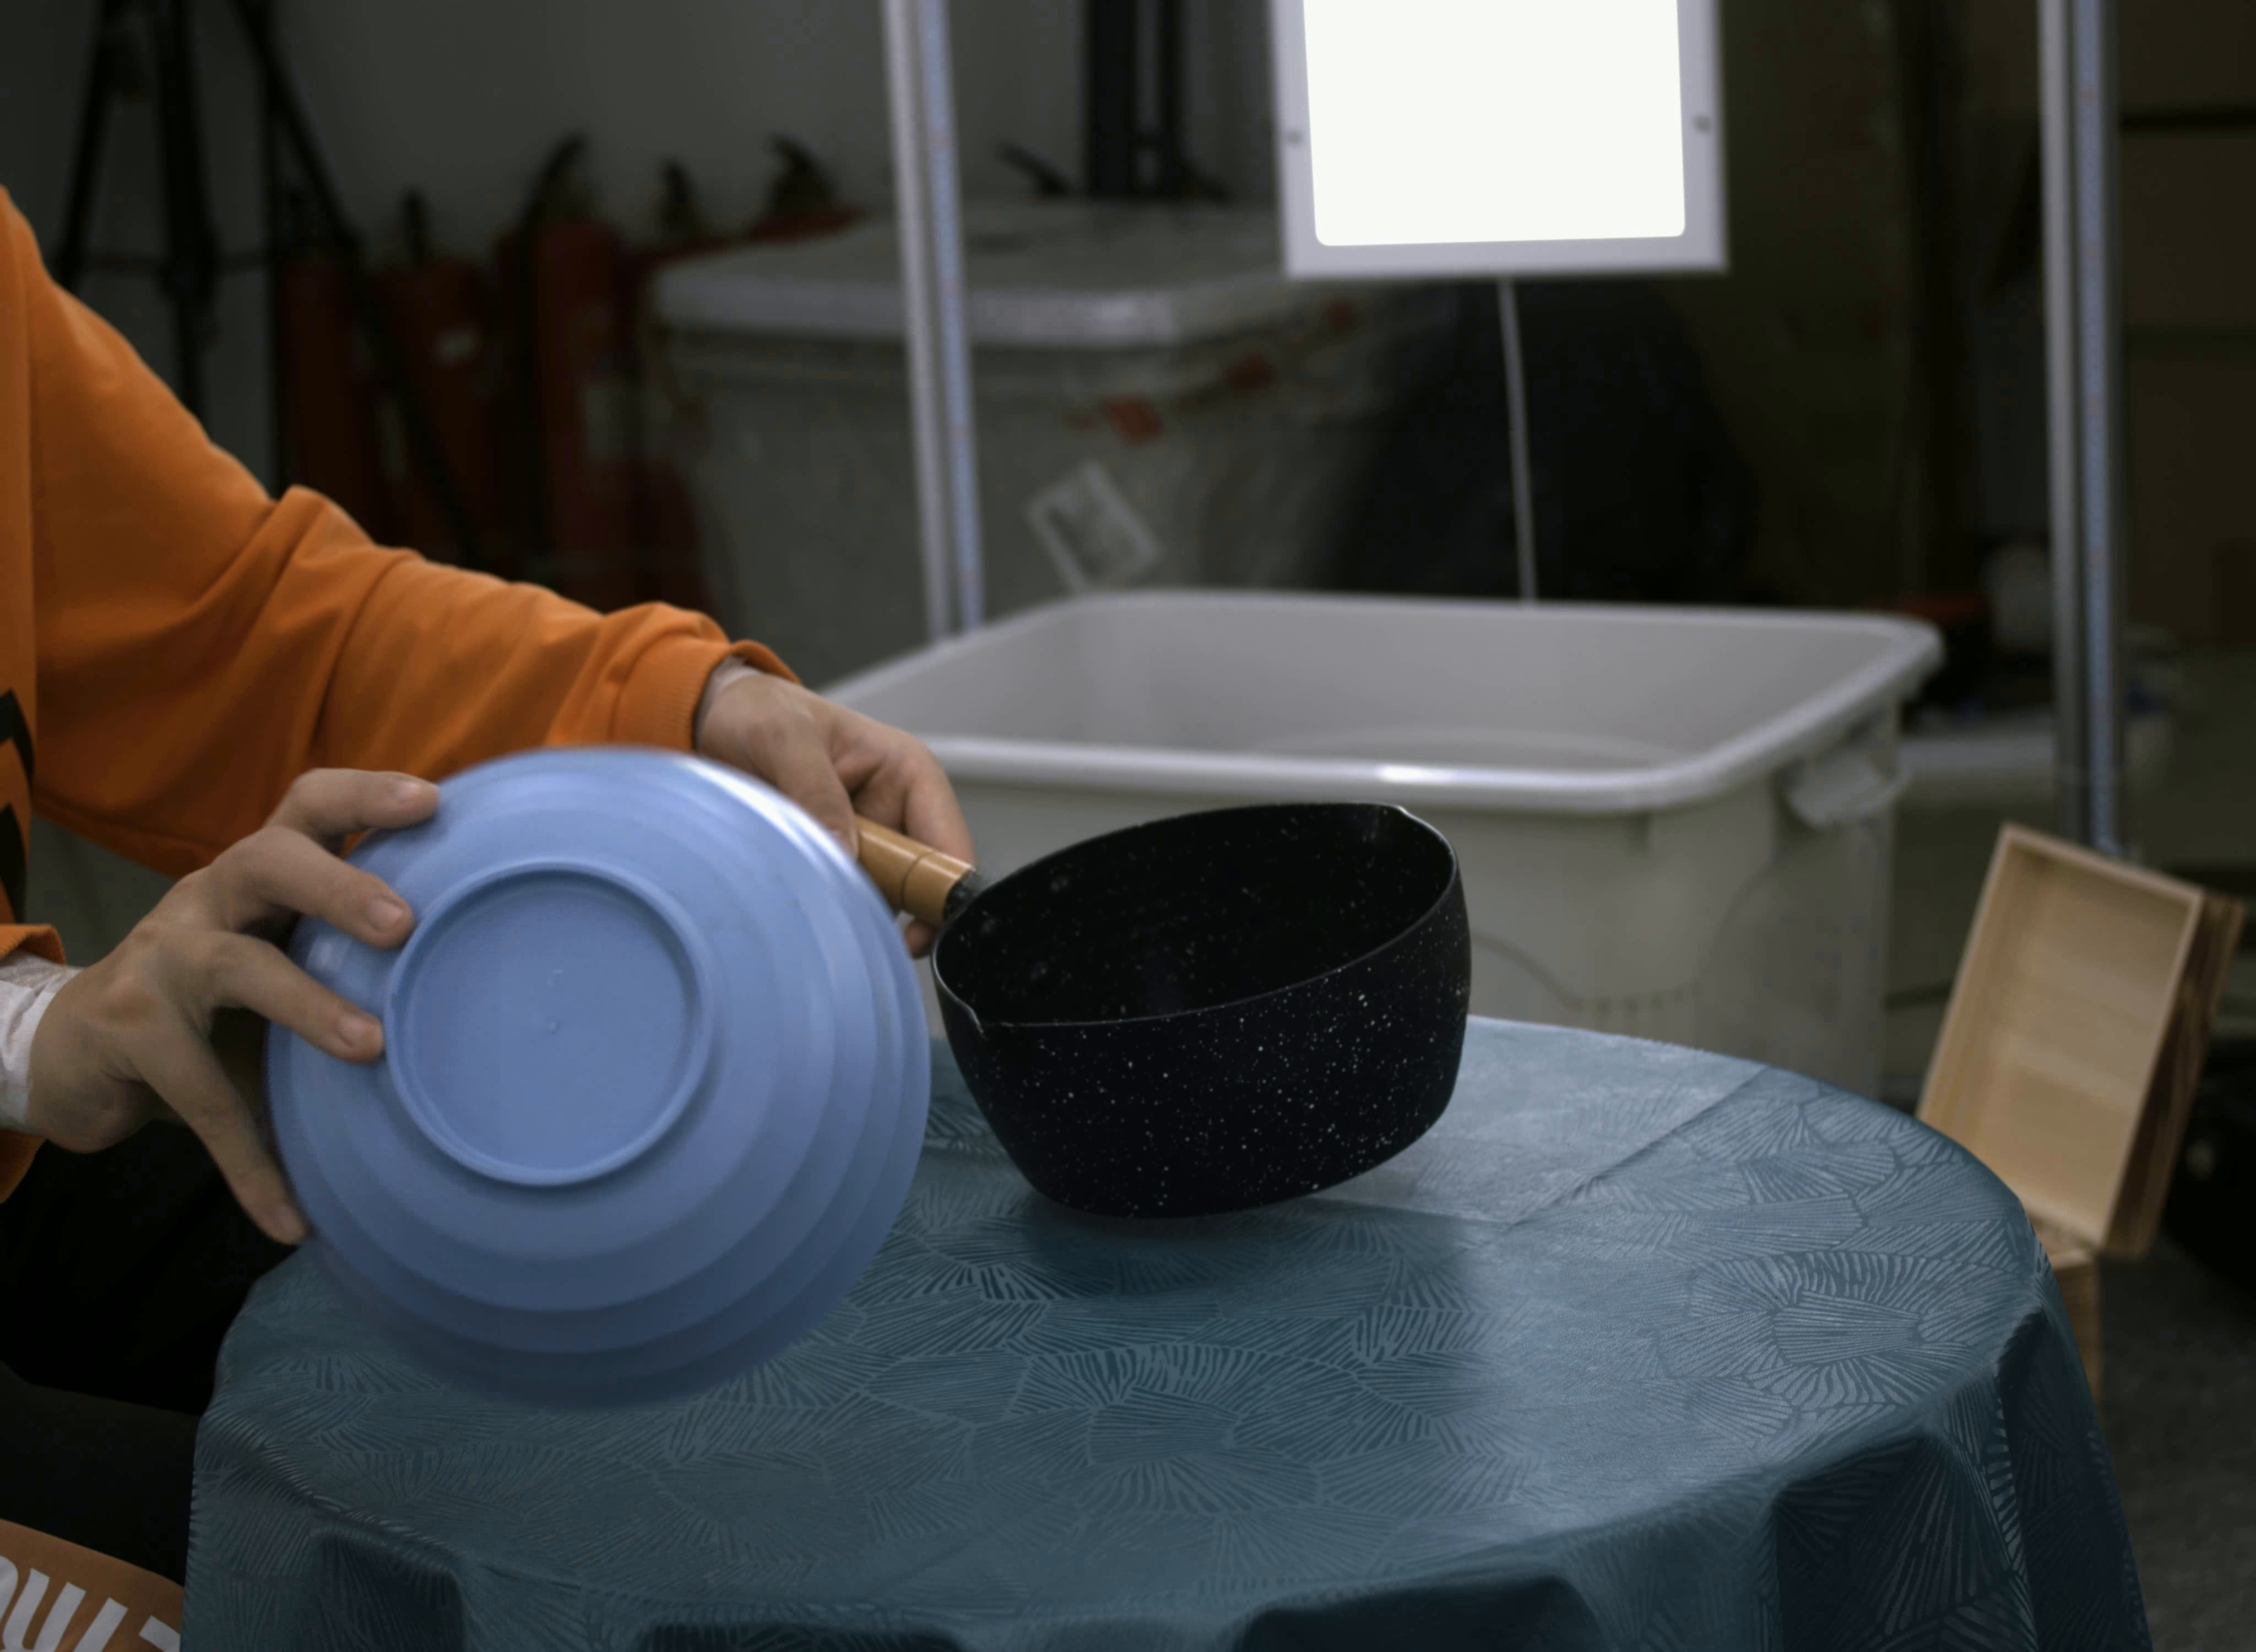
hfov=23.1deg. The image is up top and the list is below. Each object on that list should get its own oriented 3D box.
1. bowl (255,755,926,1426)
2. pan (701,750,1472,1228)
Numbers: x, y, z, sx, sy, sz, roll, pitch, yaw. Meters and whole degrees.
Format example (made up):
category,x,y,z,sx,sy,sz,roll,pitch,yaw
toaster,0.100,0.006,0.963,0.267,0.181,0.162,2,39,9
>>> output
category,x,y,z,sx,sy,sz,roll,pitch,yaw
bowl,-0.158,0.065,1.558,0.196,0.197,0.095,-4,-14,4
pan,-0.028,0.046,1.940,0.350,0.108,0.203,11,32,45
